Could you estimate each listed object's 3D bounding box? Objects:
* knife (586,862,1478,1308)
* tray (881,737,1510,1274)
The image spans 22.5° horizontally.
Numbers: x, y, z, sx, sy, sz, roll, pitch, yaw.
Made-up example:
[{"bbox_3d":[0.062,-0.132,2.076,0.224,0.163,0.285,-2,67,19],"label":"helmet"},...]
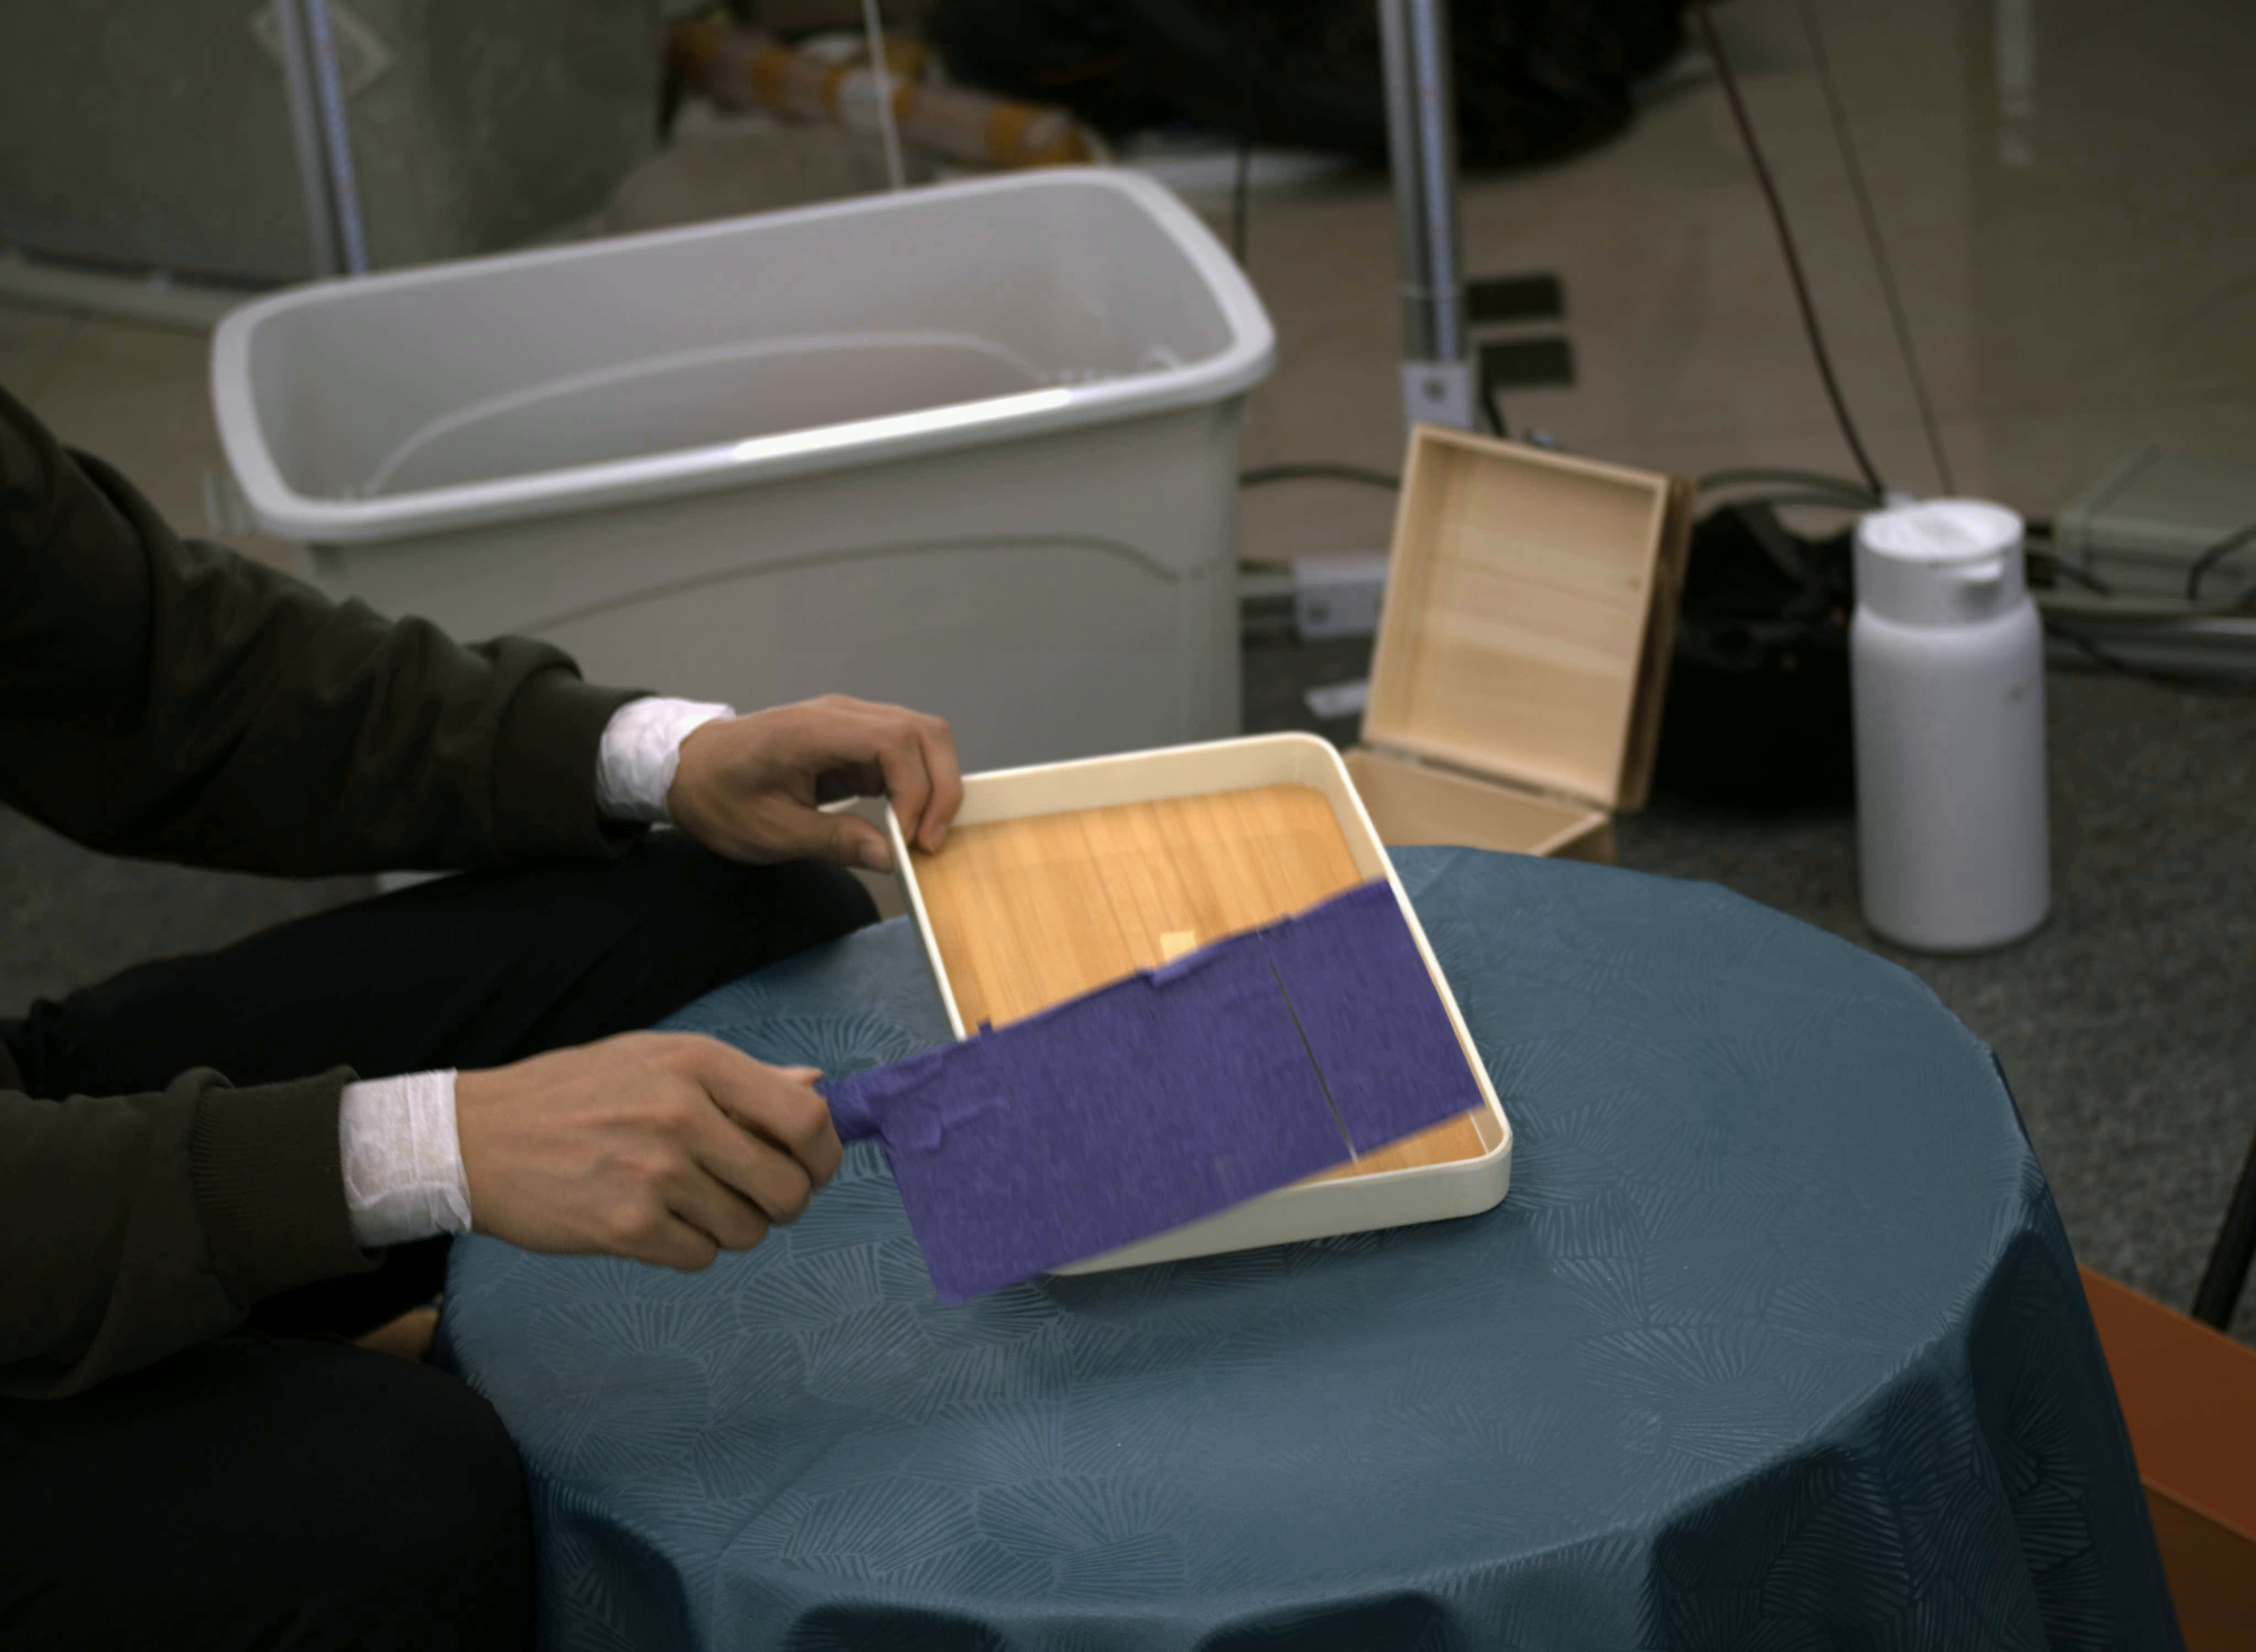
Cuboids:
[{"bbox_3d":[-0.032,0.114,2.017,0.315,0.103,0.032,-21,-9,-1],"label":"knife"},{"bbox_3d":[0.021,0.064,2.205,0.191,0.028,0.295,-8,35,-10],"label":"tray"}]
